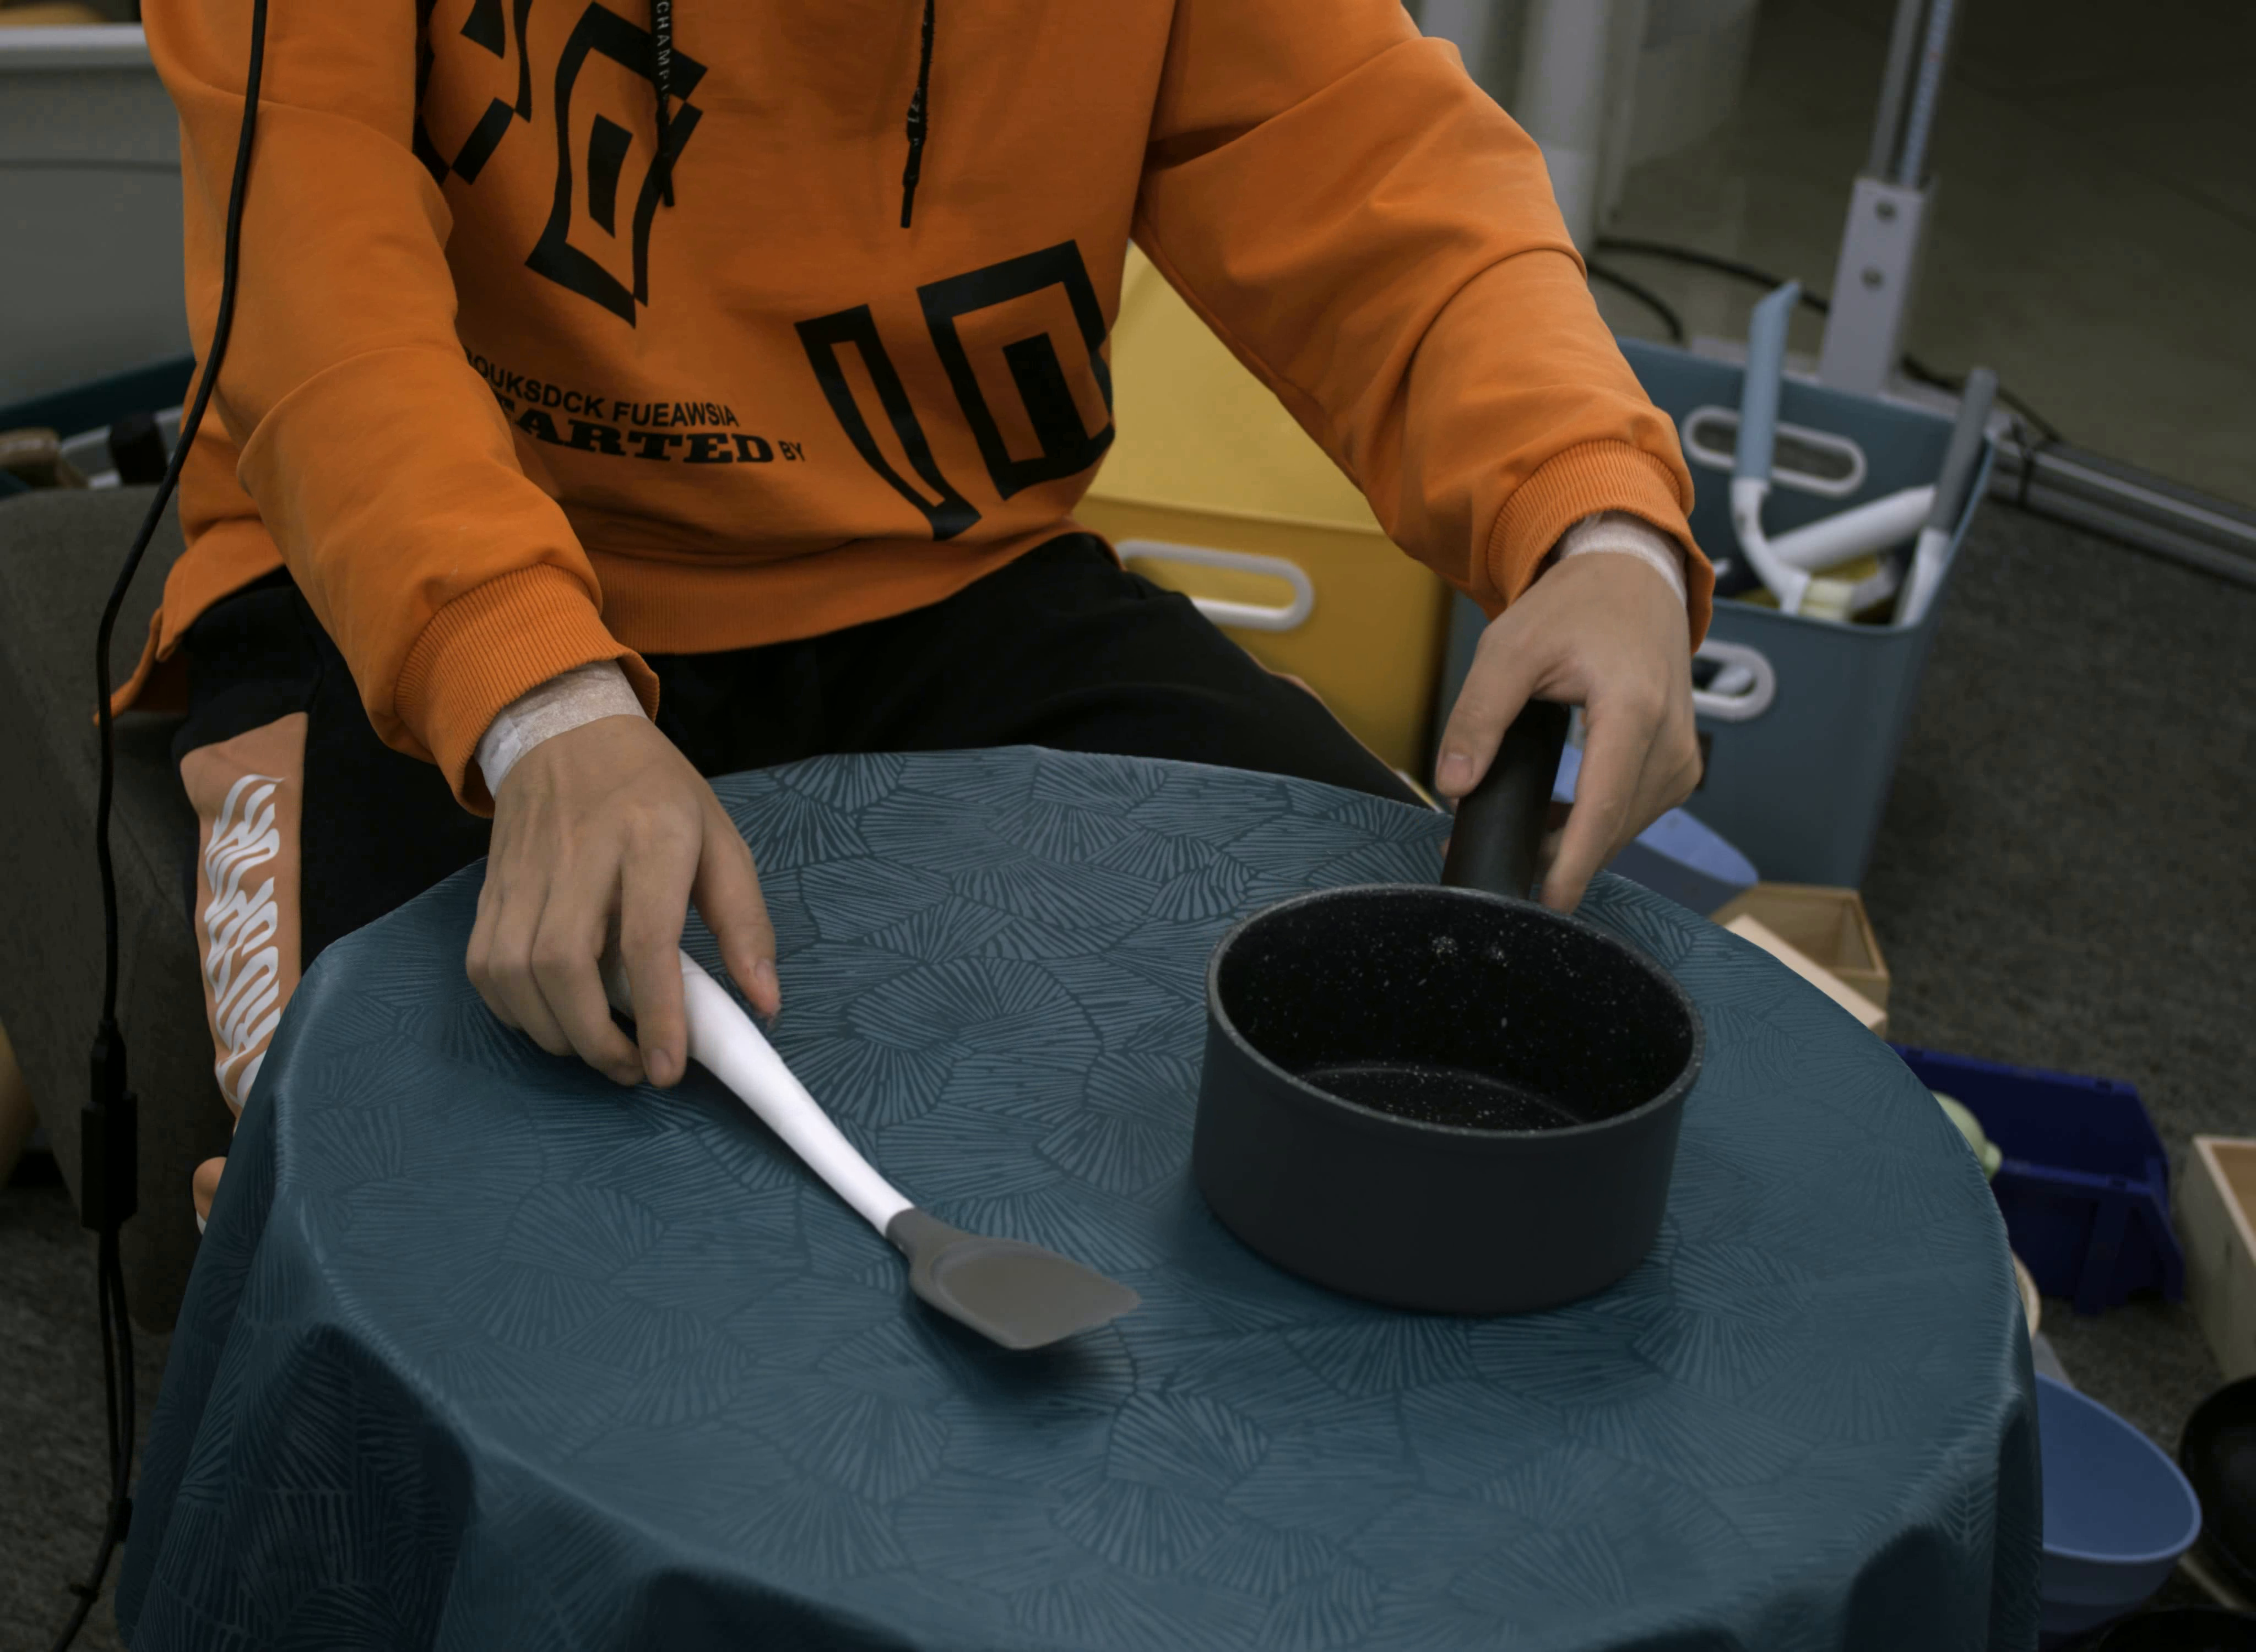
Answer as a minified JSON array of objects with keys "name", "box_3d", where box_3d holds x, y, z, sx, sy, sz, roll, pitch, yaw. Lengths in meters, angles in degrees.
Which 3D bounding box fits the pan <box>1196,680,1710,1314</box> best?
[{"name":"pan","box_3d":[0.122,0.055,1.871,0.172,0.086,0.330,12,29,8]}]

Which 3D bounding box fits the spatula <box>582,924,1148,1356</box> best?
[{"name":"spatula","box_3d":[-0.096,0.108,1.777,0.058,0.032,0.290,-12,32,-34]}]
